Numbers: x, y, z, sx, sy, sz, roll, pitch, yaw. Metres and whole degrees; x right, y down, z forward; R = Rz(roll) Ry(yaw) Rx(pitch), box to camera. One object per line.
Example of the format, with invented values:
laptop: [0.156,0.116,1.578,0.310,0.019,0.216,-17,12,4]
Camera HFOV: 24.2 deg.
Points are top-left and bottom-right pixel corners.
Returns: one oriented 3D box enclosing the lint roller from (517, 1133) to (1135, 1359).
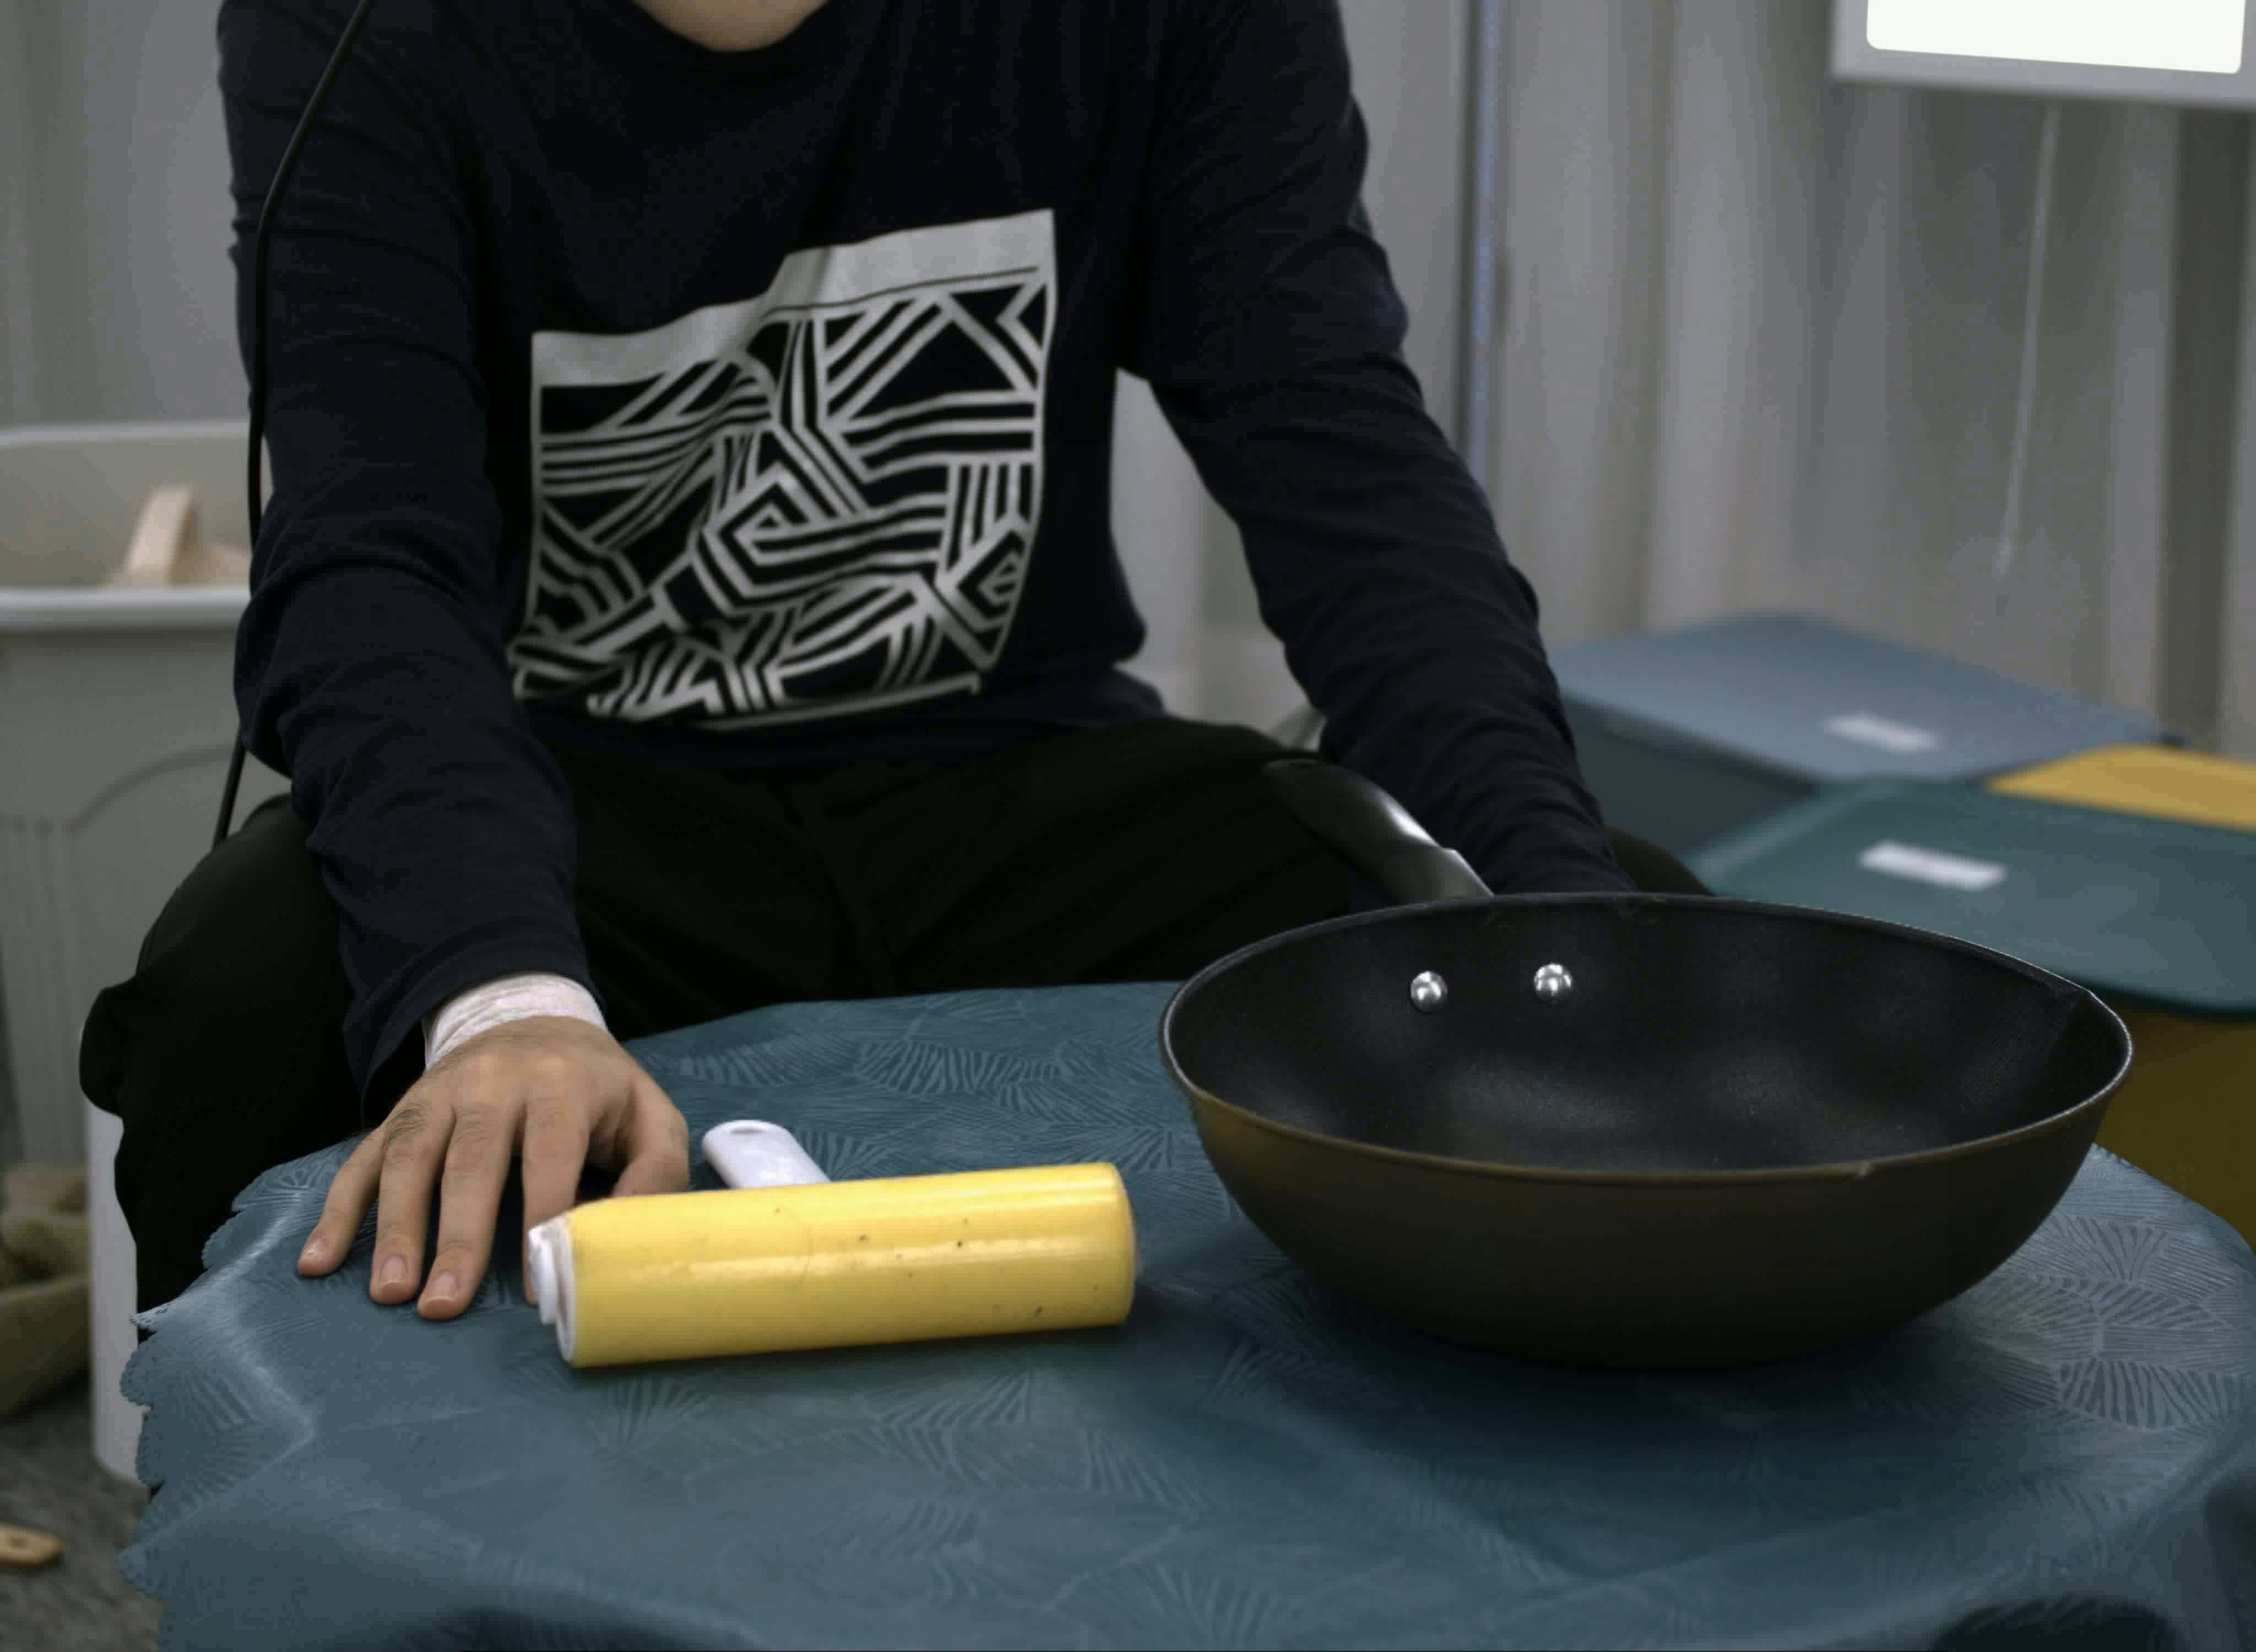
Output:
lint roller: [-0.101,0.106,1.556,0.174,0.052,0.190,-3,16,-14]

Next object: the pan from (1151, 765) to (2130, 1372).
pan: [0.121,0.072,1.621,0.289,0.087,0.458,-3,16,-17]
